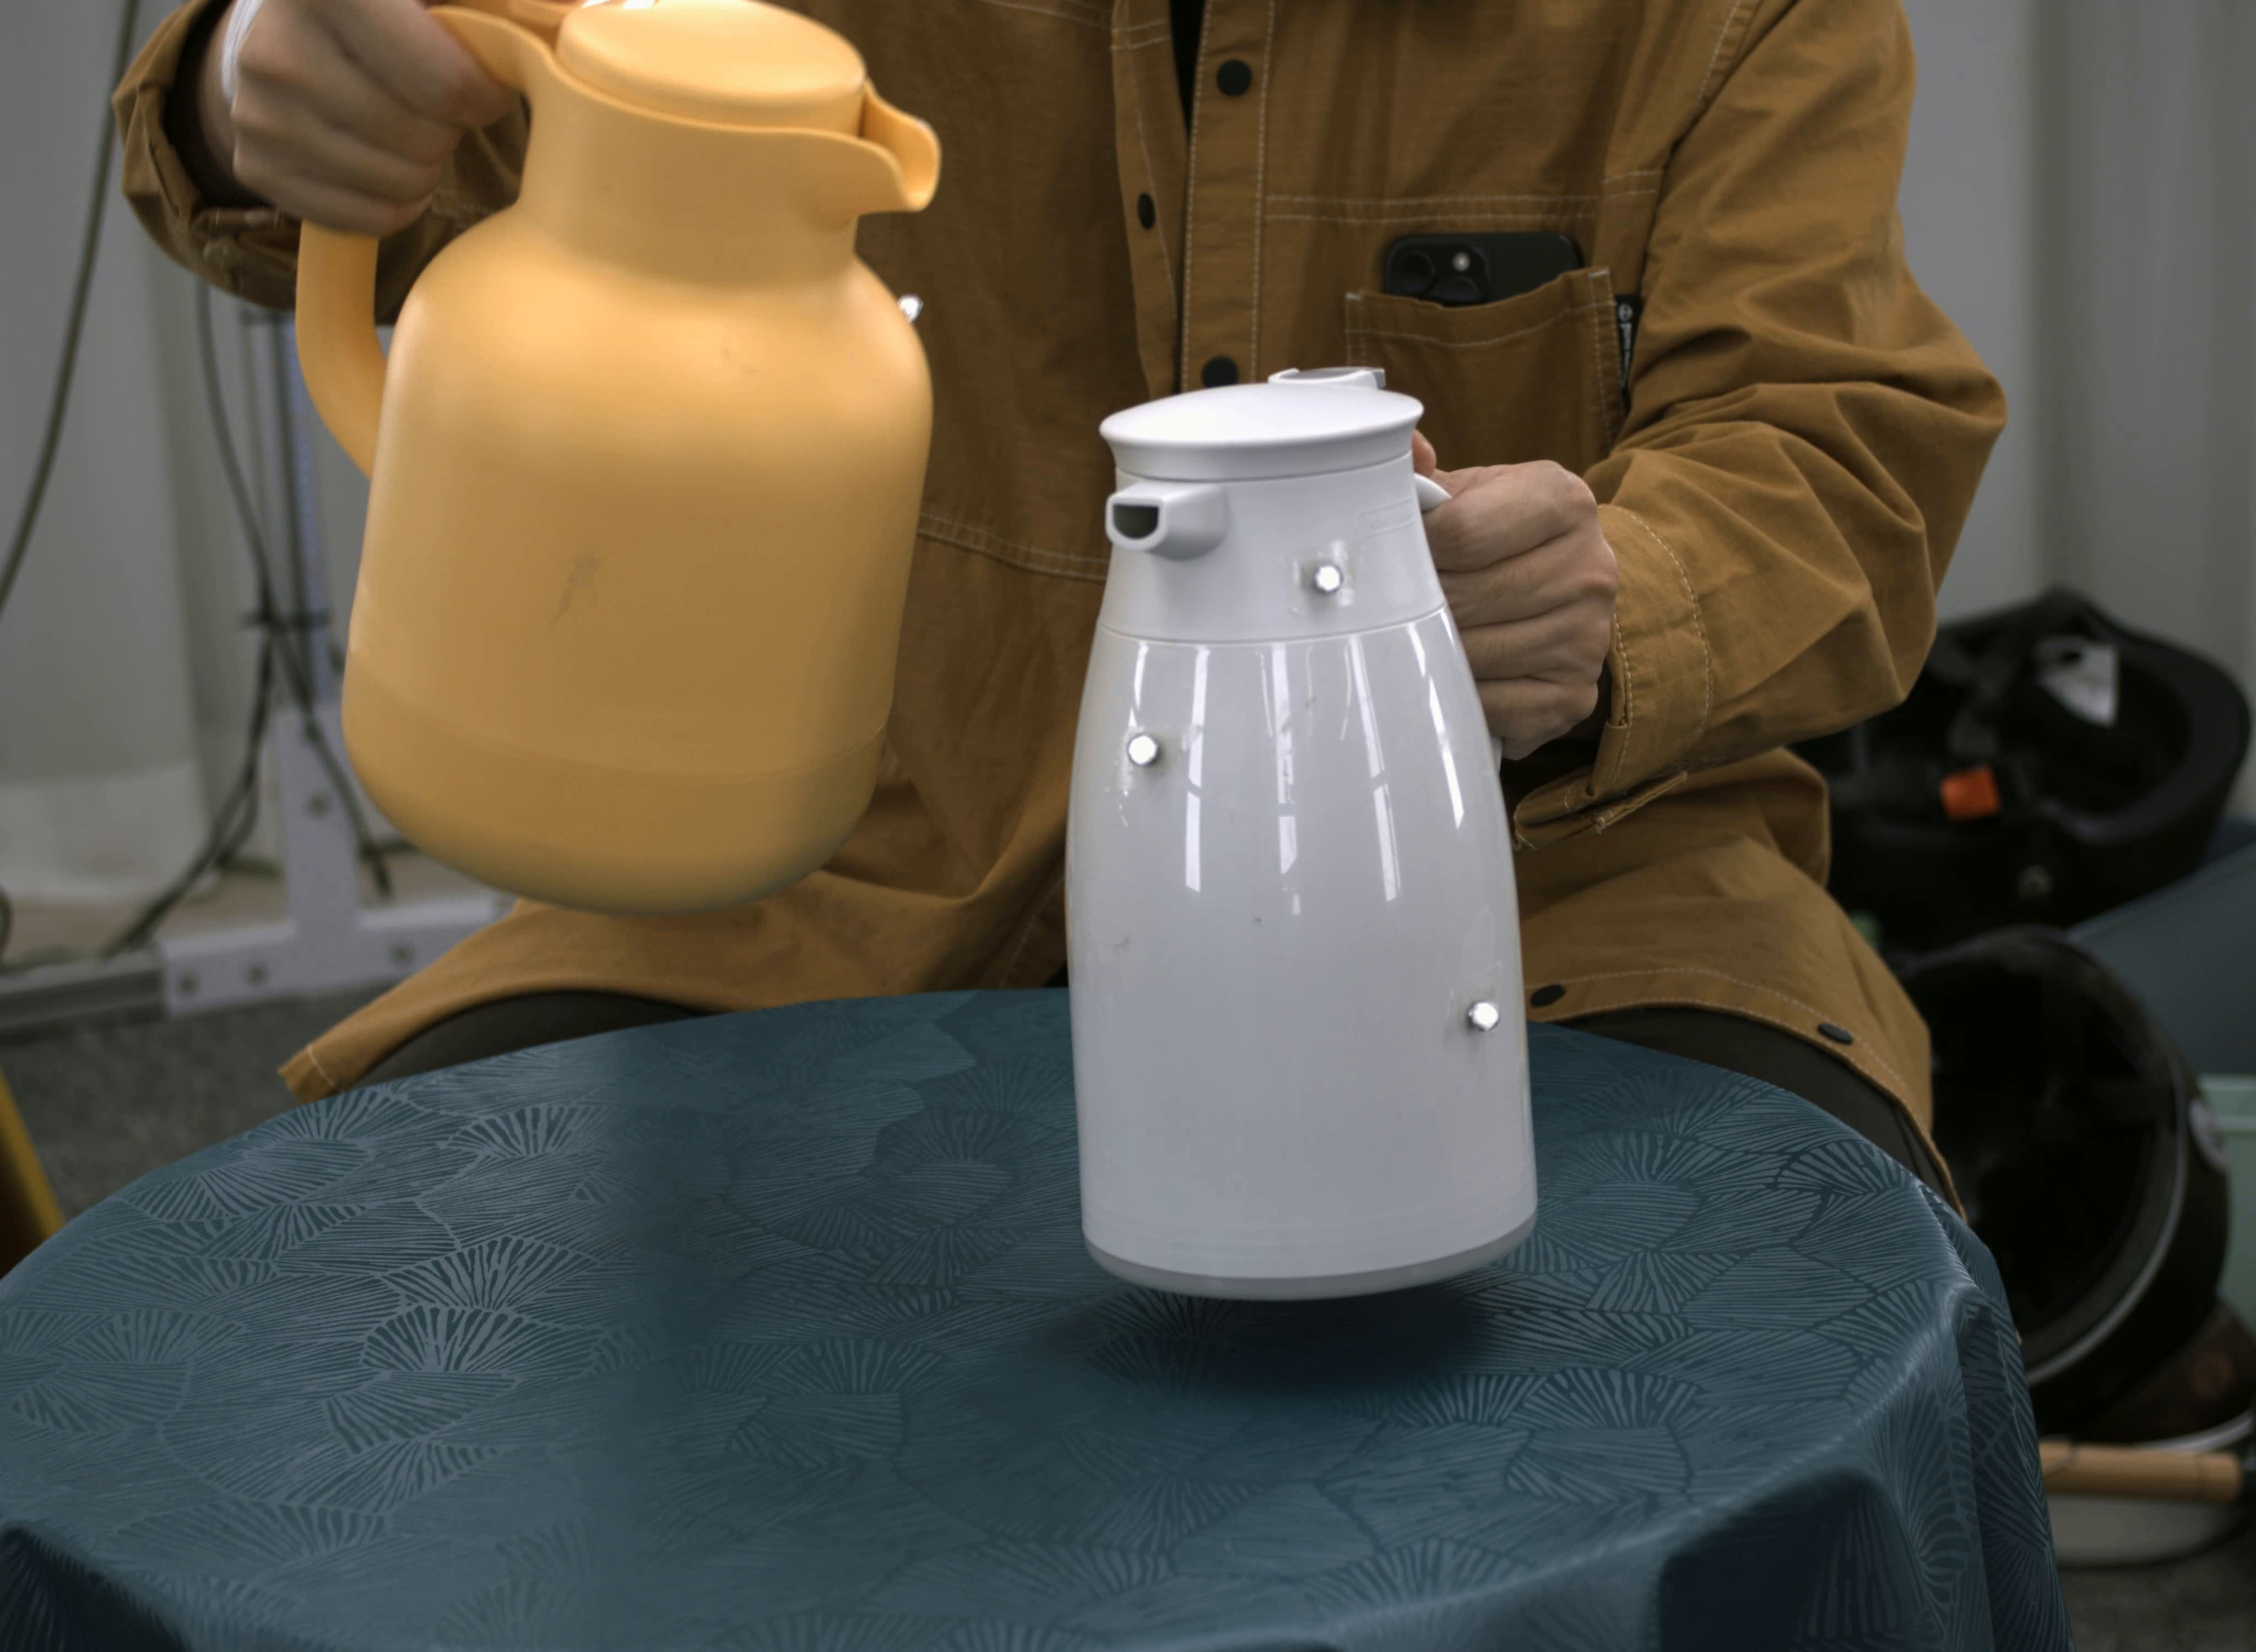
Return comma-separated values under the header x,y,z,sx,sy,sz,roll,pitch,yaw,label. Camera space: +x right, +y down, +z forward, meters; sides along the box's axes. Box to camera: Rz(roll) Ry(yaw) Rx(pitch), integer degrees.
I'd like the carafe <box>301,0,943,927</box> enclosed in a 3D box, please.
x,y,z,sx,sy,sz,roll,pitch,yaw,label
-0.156,-0.118,1.619,0.203,0.259,0.163,22,23,22,carafe

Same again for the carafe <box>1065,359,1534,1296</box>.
x,y,z,sx,sy,sz,roll,pitch,yaw,label
0.055,-0.008,1.575,0.133,0.248,0.167,5,13,36,carafe
